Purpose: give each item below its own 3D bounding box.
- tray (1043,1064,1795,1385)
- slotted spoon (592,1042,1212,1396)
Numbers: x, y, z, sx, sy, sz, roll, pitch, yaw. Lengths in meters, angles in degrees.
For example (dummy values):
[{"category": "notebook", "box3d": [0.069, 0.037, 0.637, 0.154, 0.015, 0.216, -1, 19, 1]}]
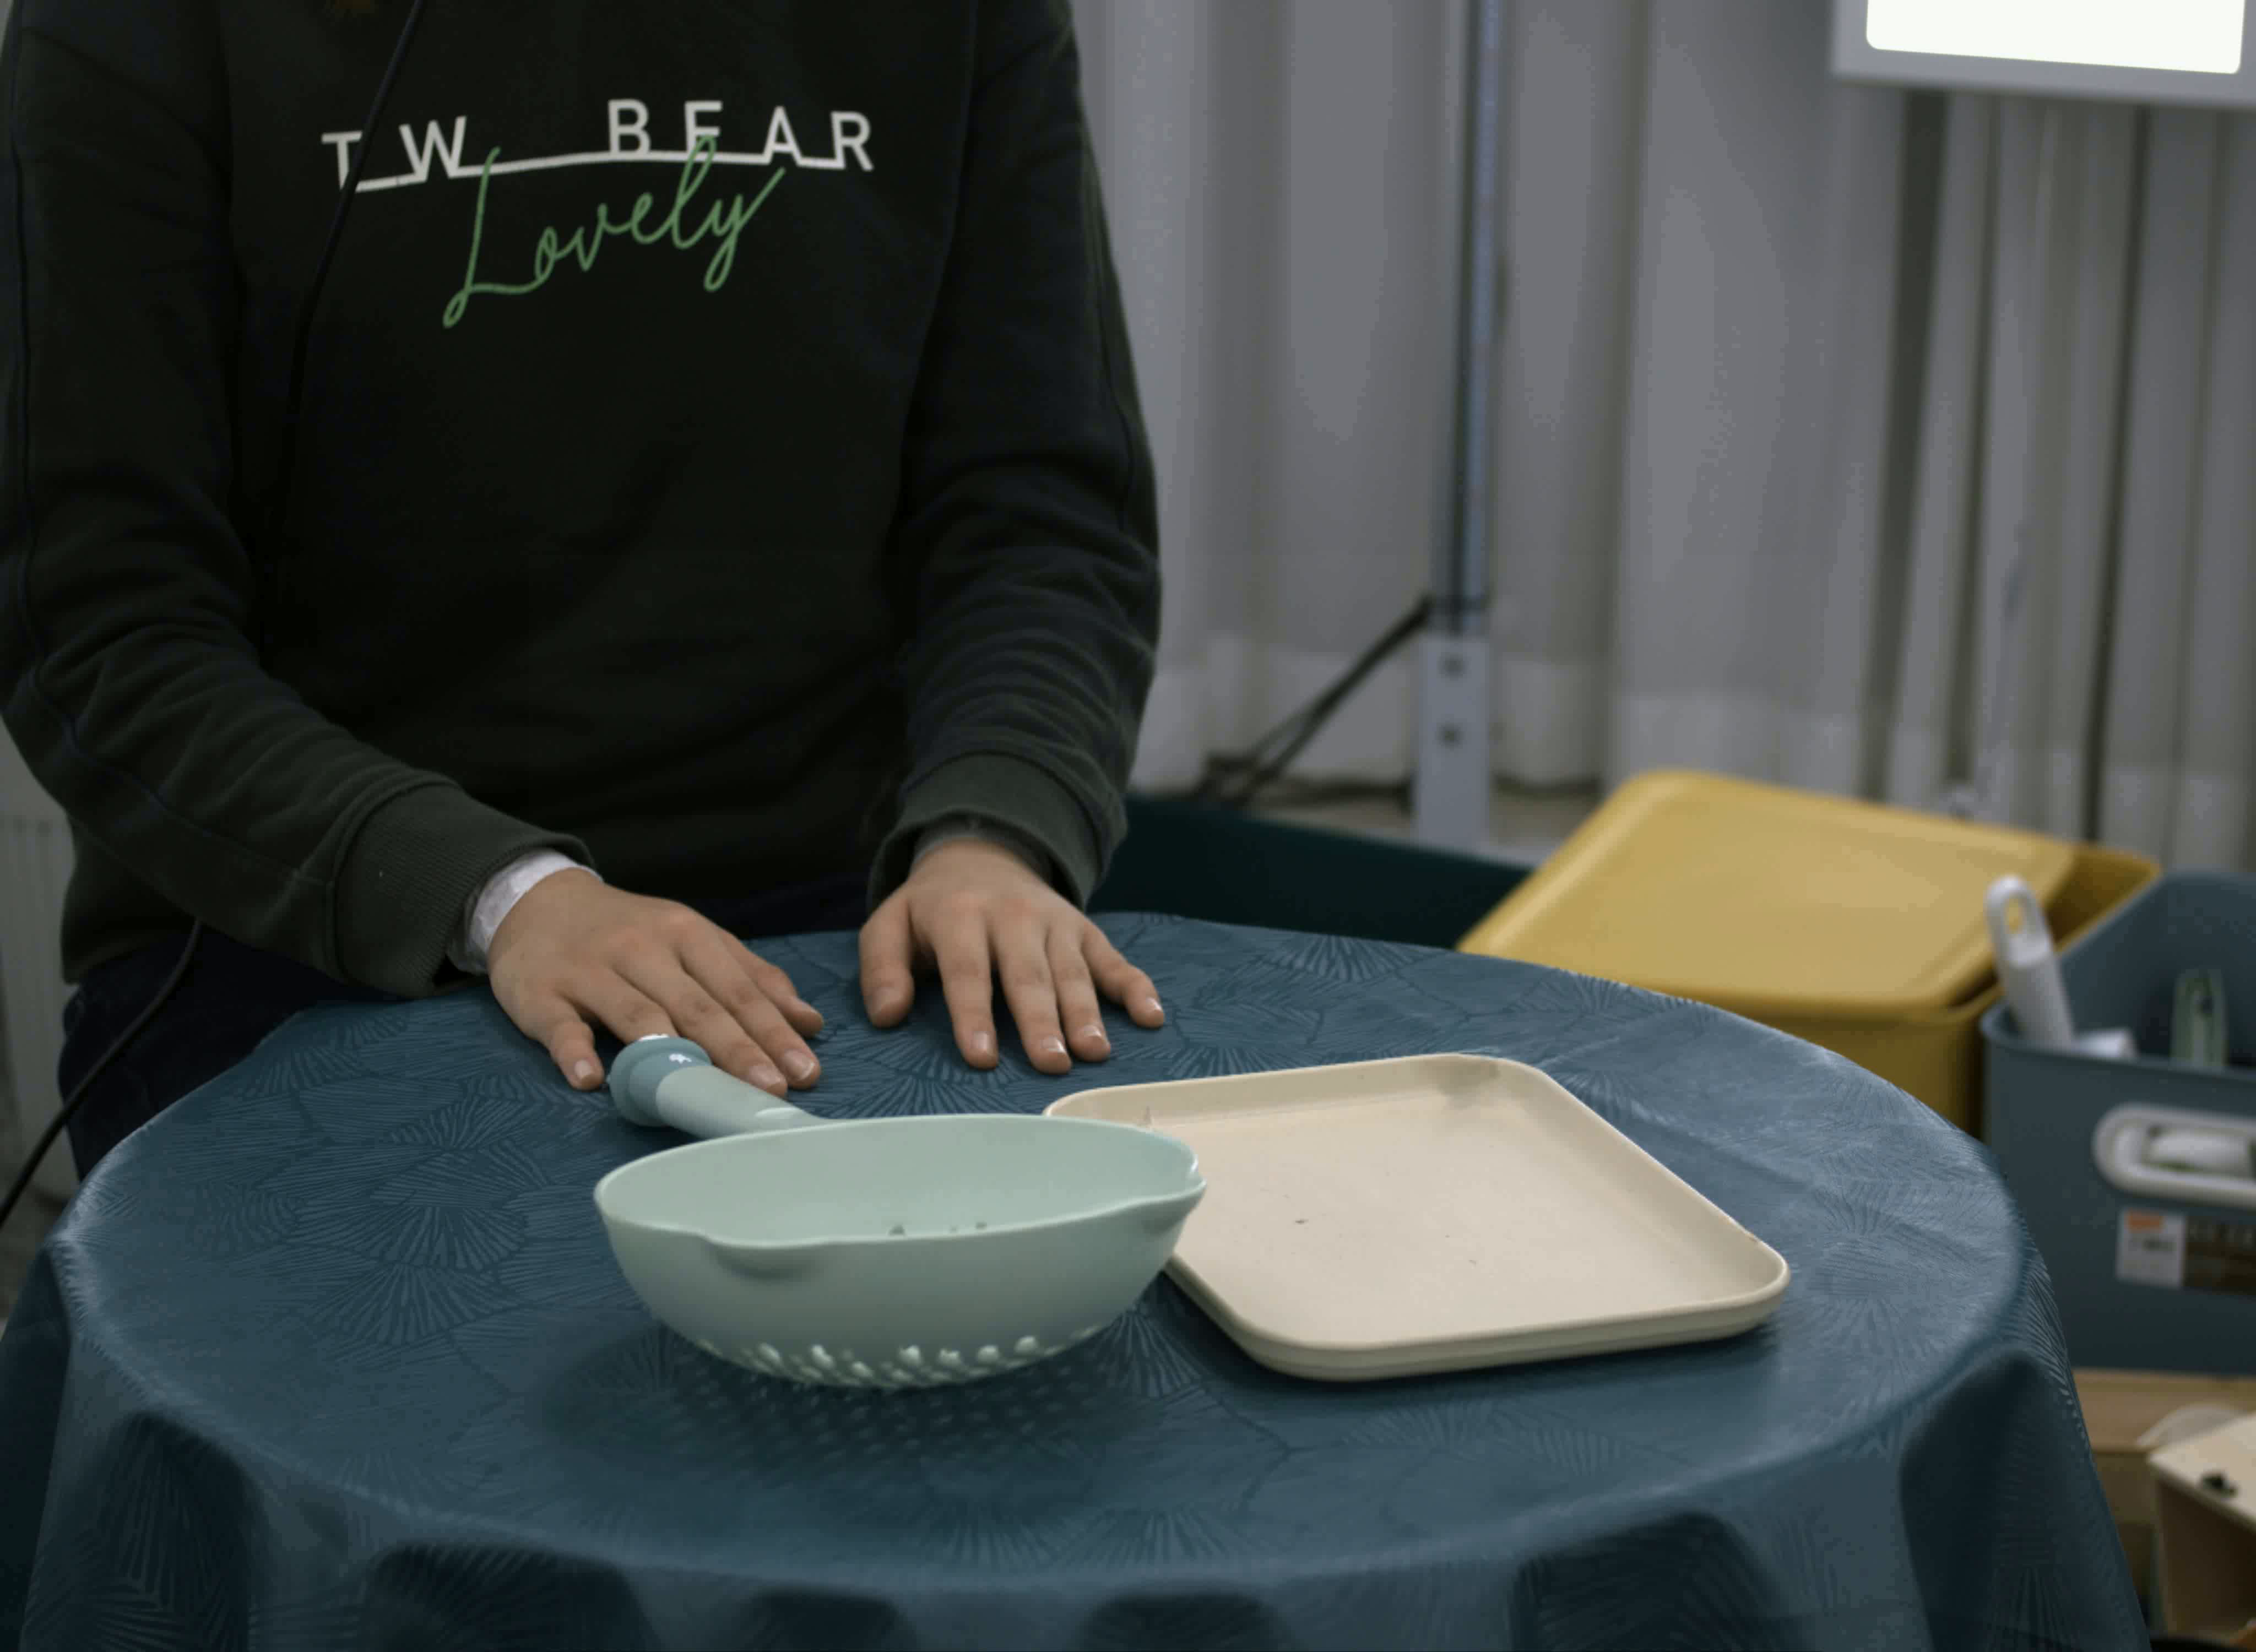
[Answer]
[{"category": "tray", "box3d": [0.082, 0.118, 1.582, 0.172, 0.017, 0.237, -5, 16, -19]}, {"category": "slotted spoon", "box3d": [-0.098, 0.099, 1.554, 0.170, 0.076, 0.355, -5, 16, -21]}]
